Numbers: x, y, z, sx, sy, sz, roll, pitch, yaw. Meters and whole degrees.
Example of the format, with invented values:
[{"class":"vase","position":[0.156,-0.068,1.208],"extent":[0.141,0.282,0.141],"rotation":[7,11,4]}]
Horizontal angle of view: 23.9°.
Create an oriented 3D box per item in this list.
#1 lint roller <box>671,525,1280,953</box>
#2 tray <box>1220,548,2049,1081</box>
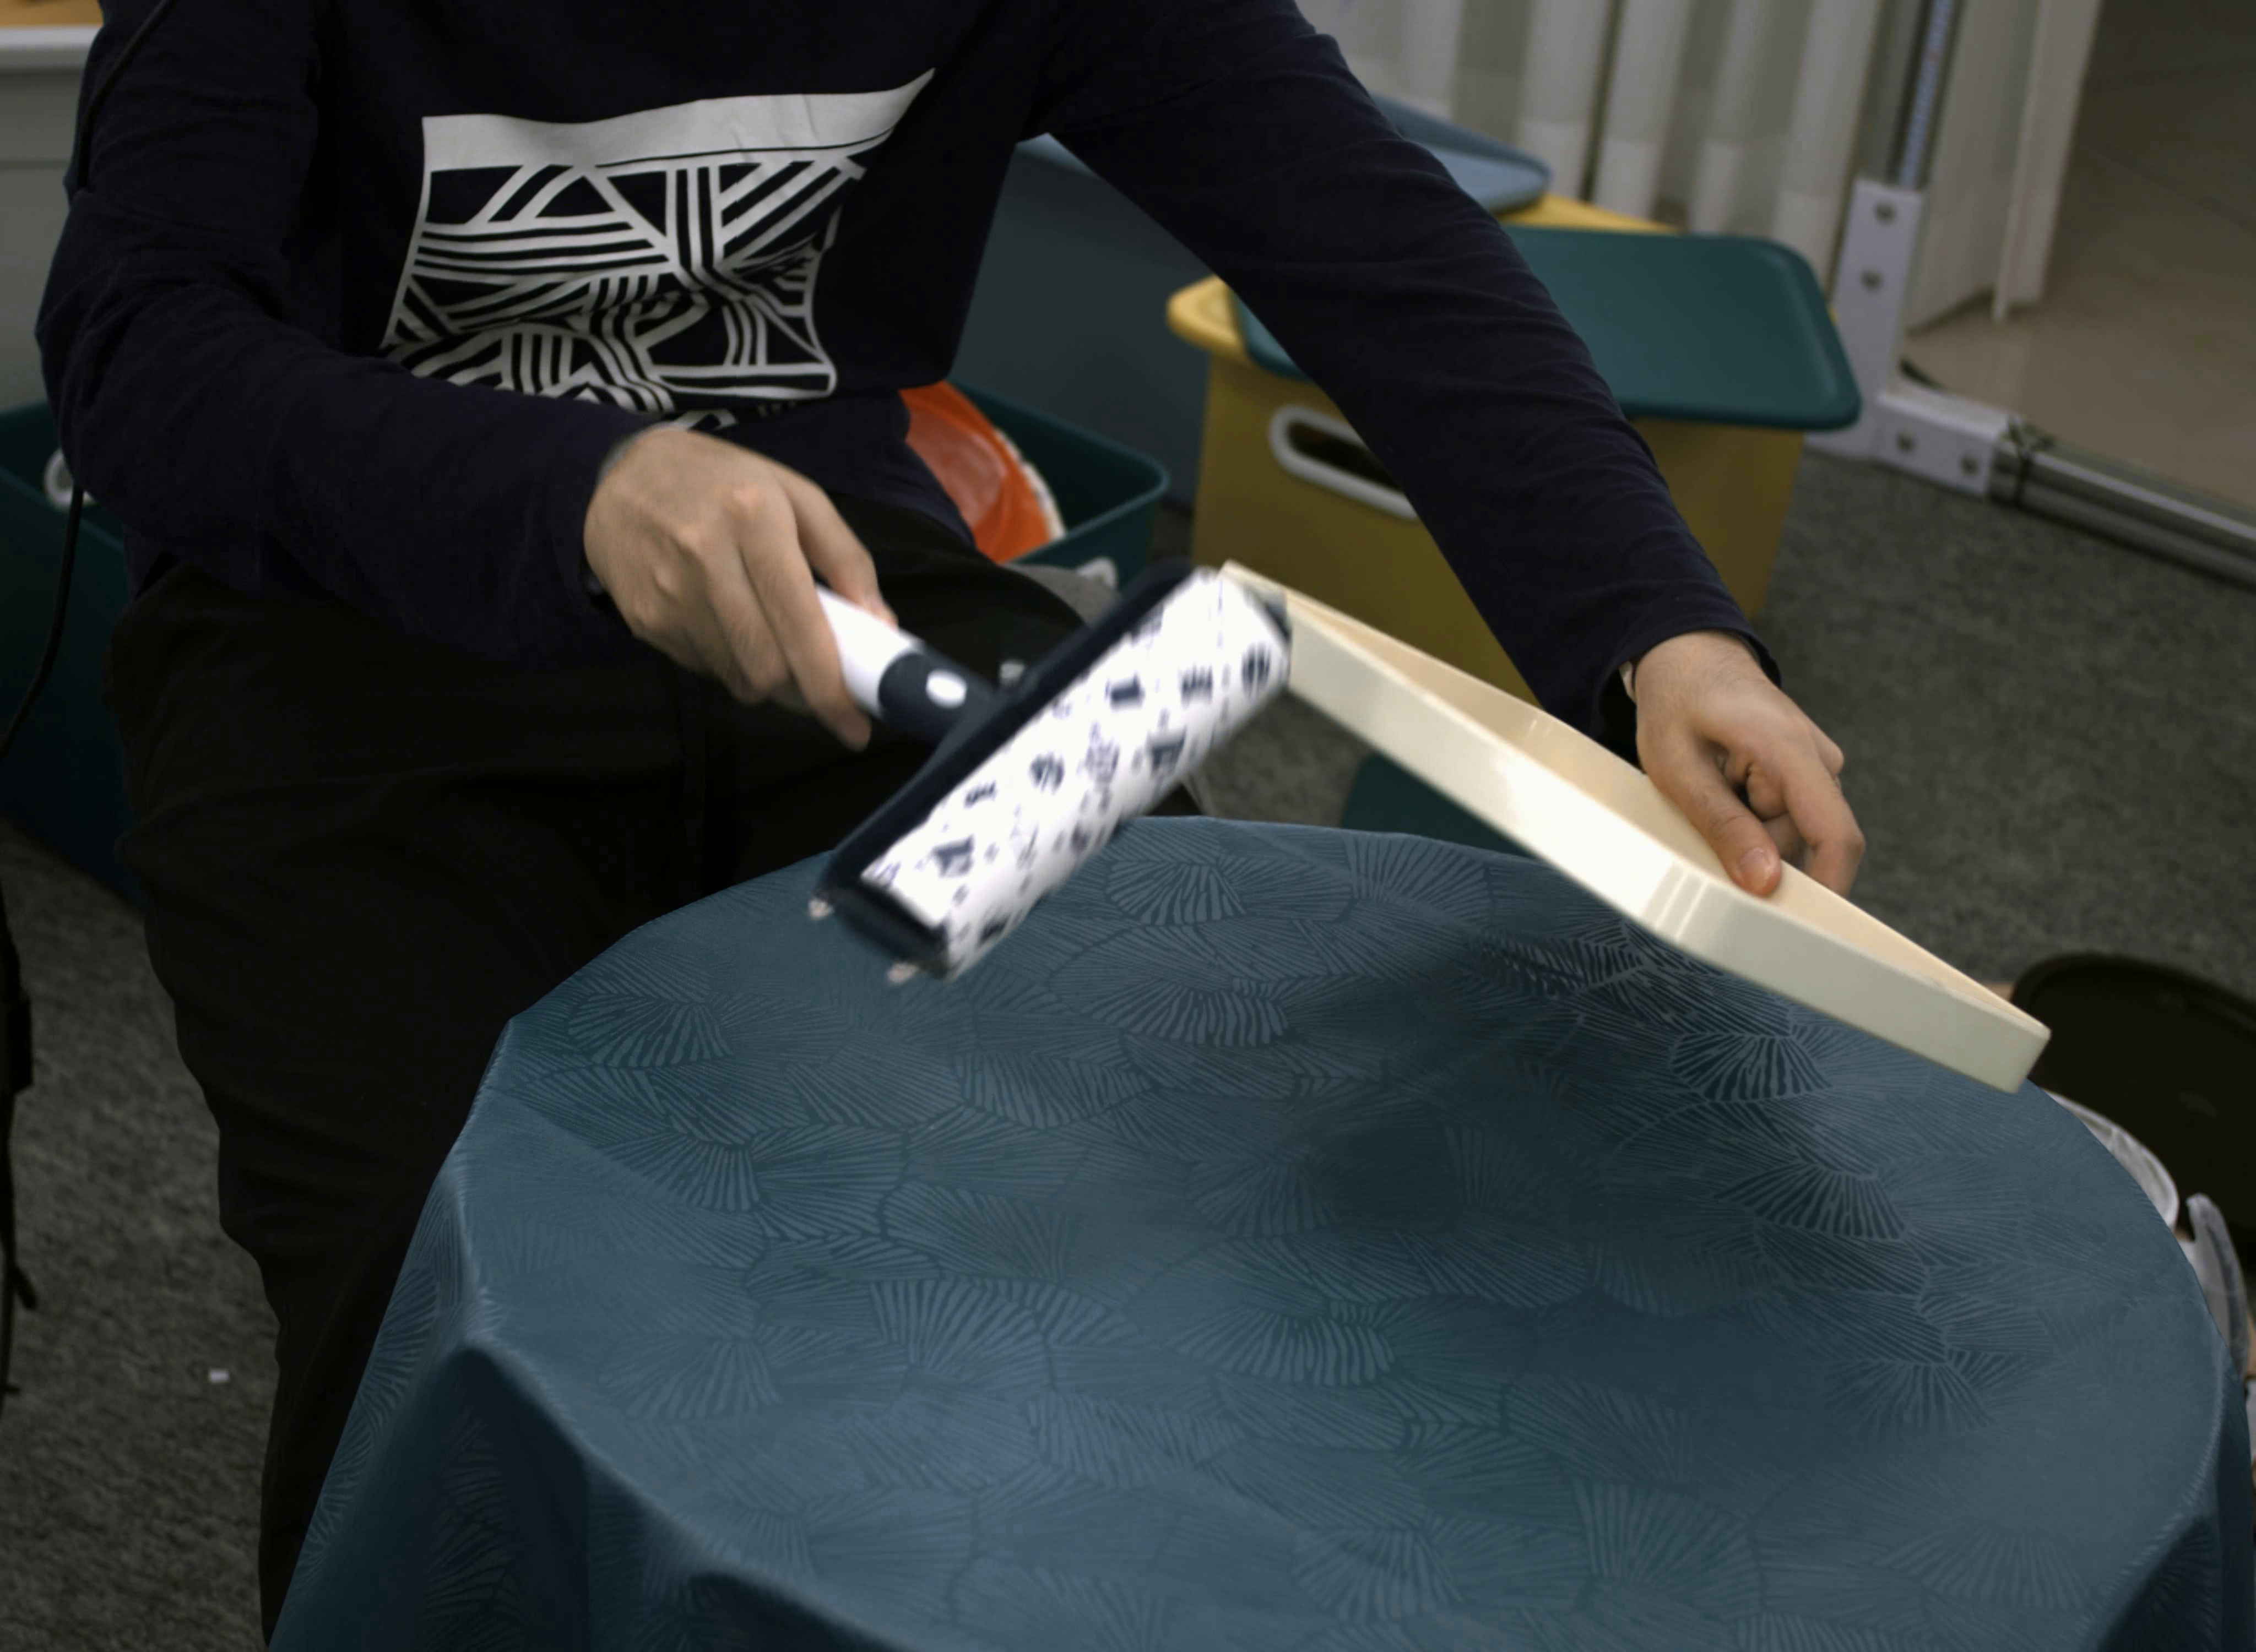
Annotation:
[{"class":"lint roller","position":[-0.084,-0.060,1.849],"extent":[0.249,0.050,0.176],"rotation":[26,64,42]},{"class":"tray","position":[0.166,-0.006,1.840],"extent":[0.190,0.027,0.303],"rotation":[23,9,-38]}]
